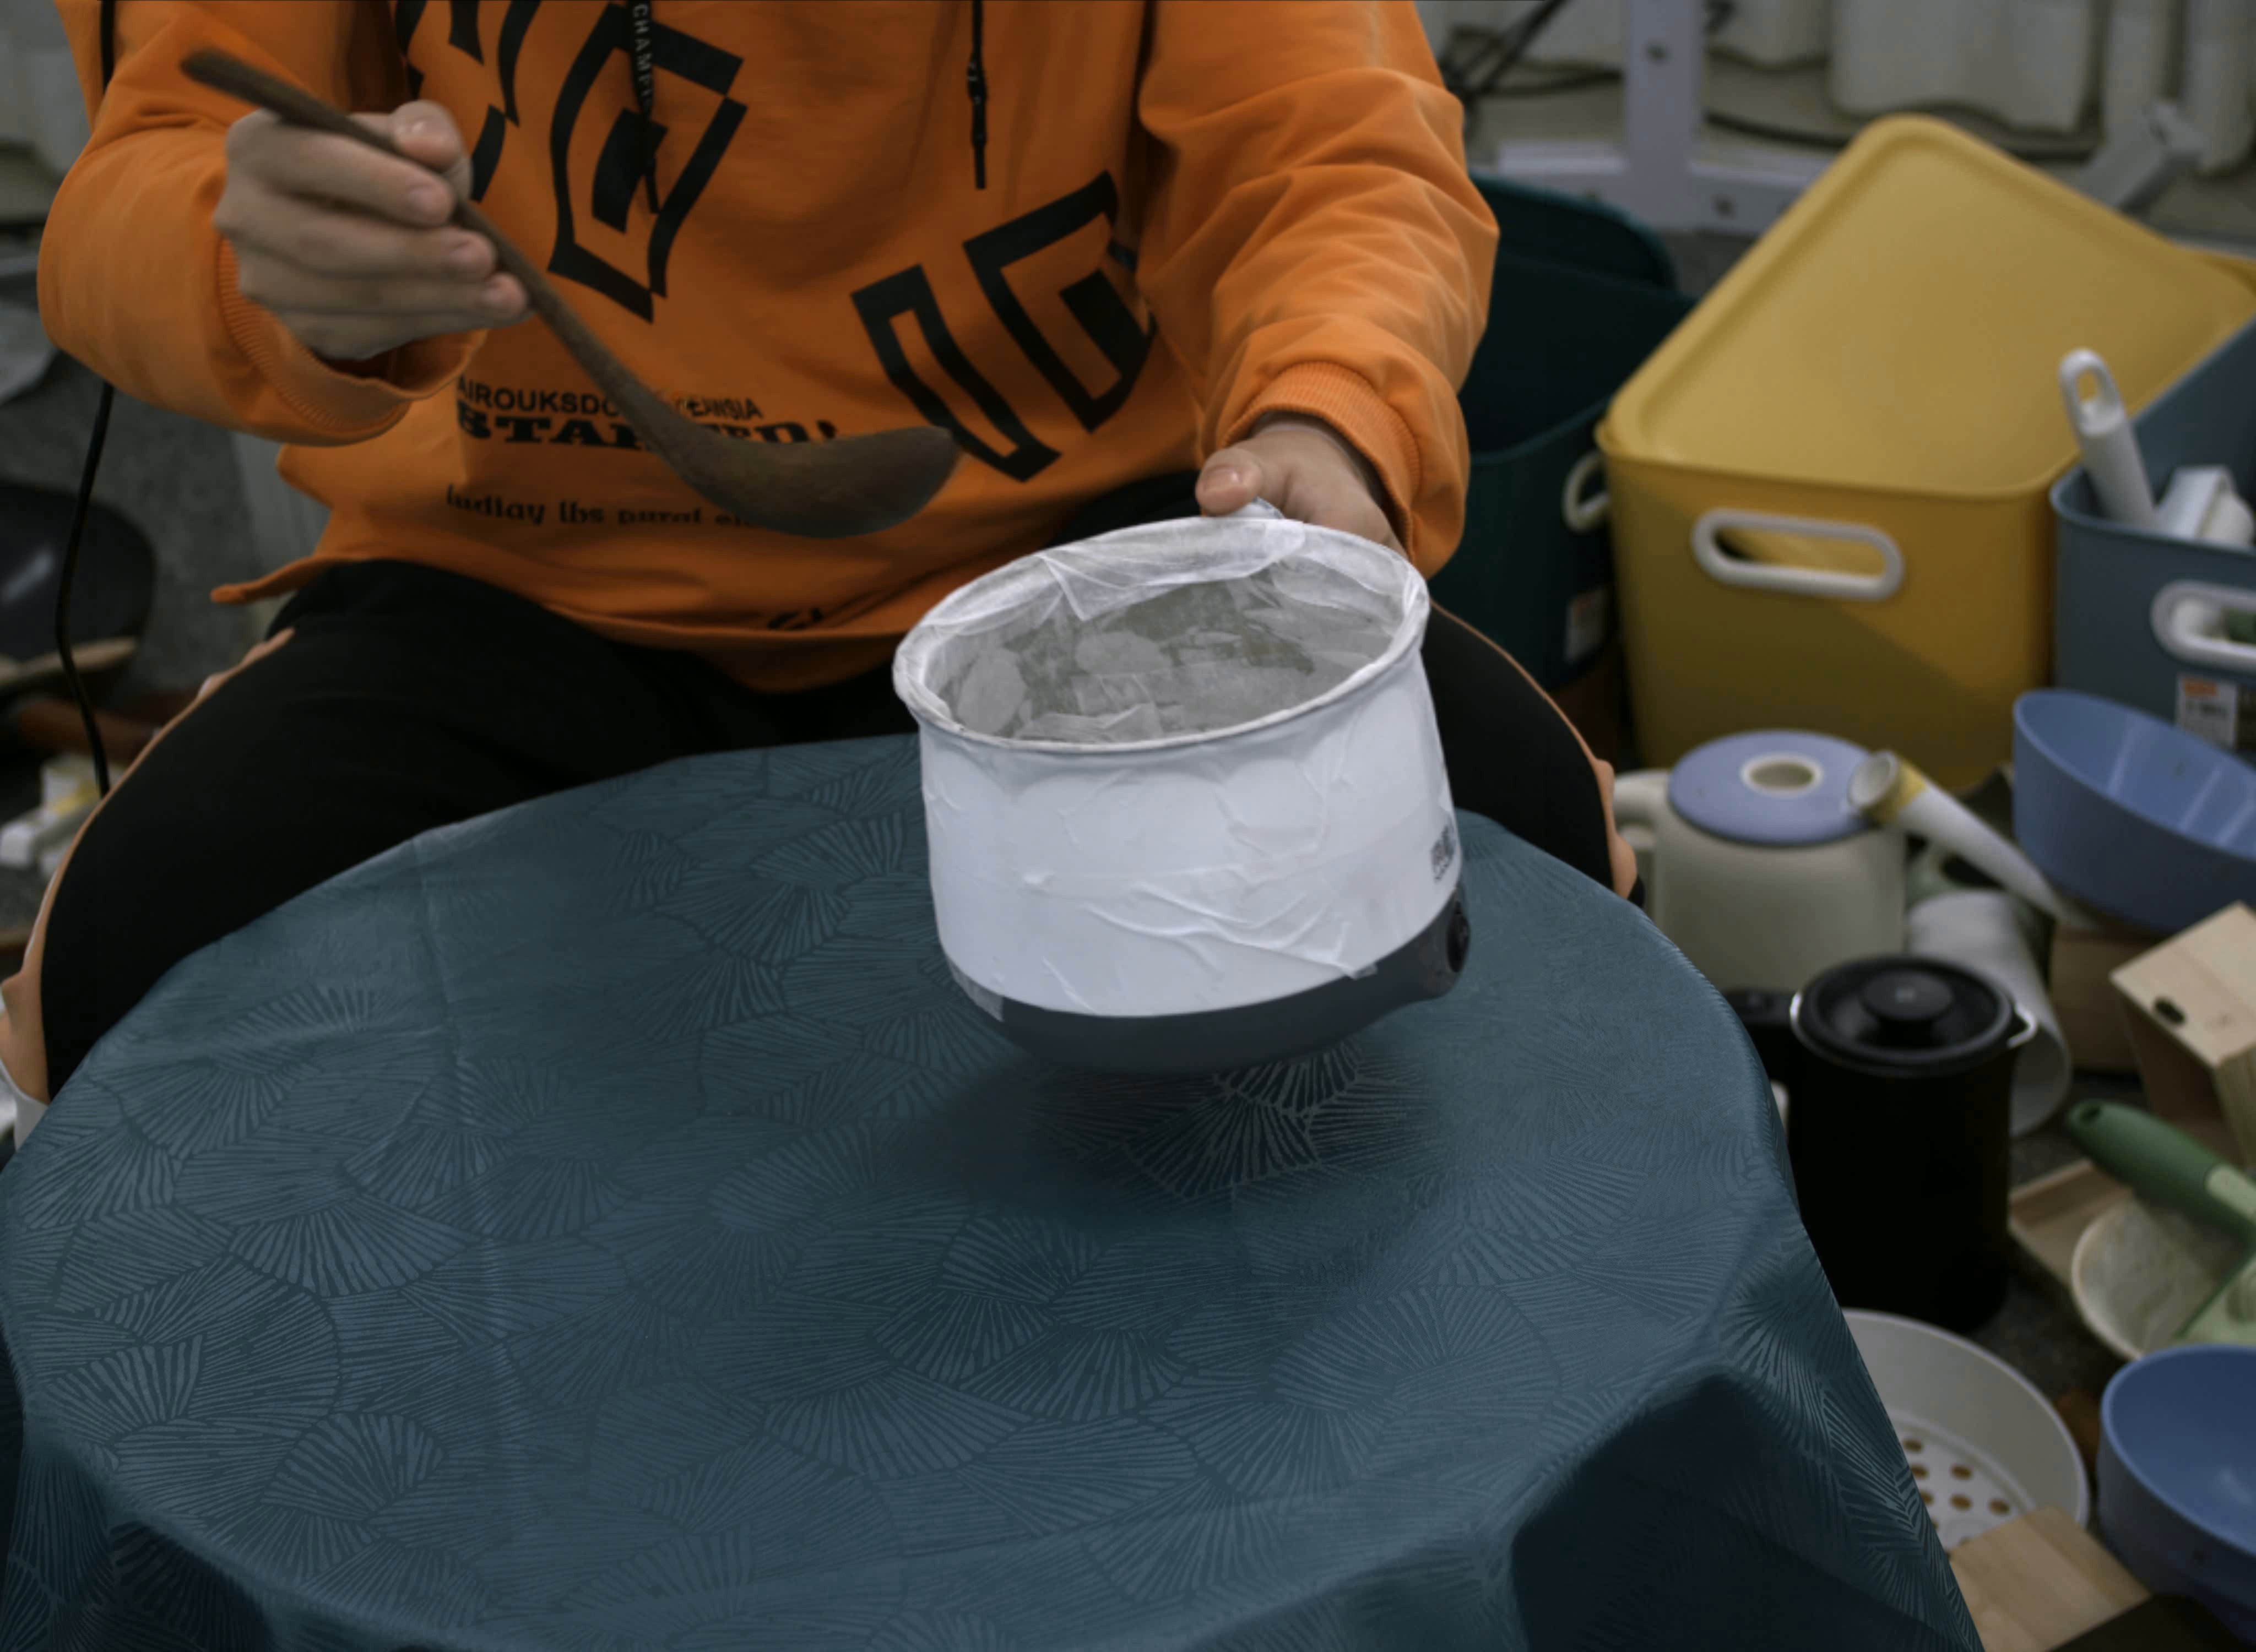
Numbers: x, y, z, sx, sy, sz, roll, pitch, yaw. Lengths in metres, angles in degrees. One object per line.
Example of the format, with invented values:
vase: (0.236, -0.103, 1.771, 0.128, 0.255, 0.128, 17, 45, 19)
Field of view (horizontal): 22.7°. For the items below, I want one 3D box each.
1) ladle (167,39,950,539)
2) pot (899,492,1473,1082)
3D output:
ladle: (-0.178, -0.183, 1.787, 0.274, 0.075, 0.072, 40, 80, 3)
pot: (0.028, -0.020, 1.886, 0.177, 0.135, 0.238, 0, 26, 16)
